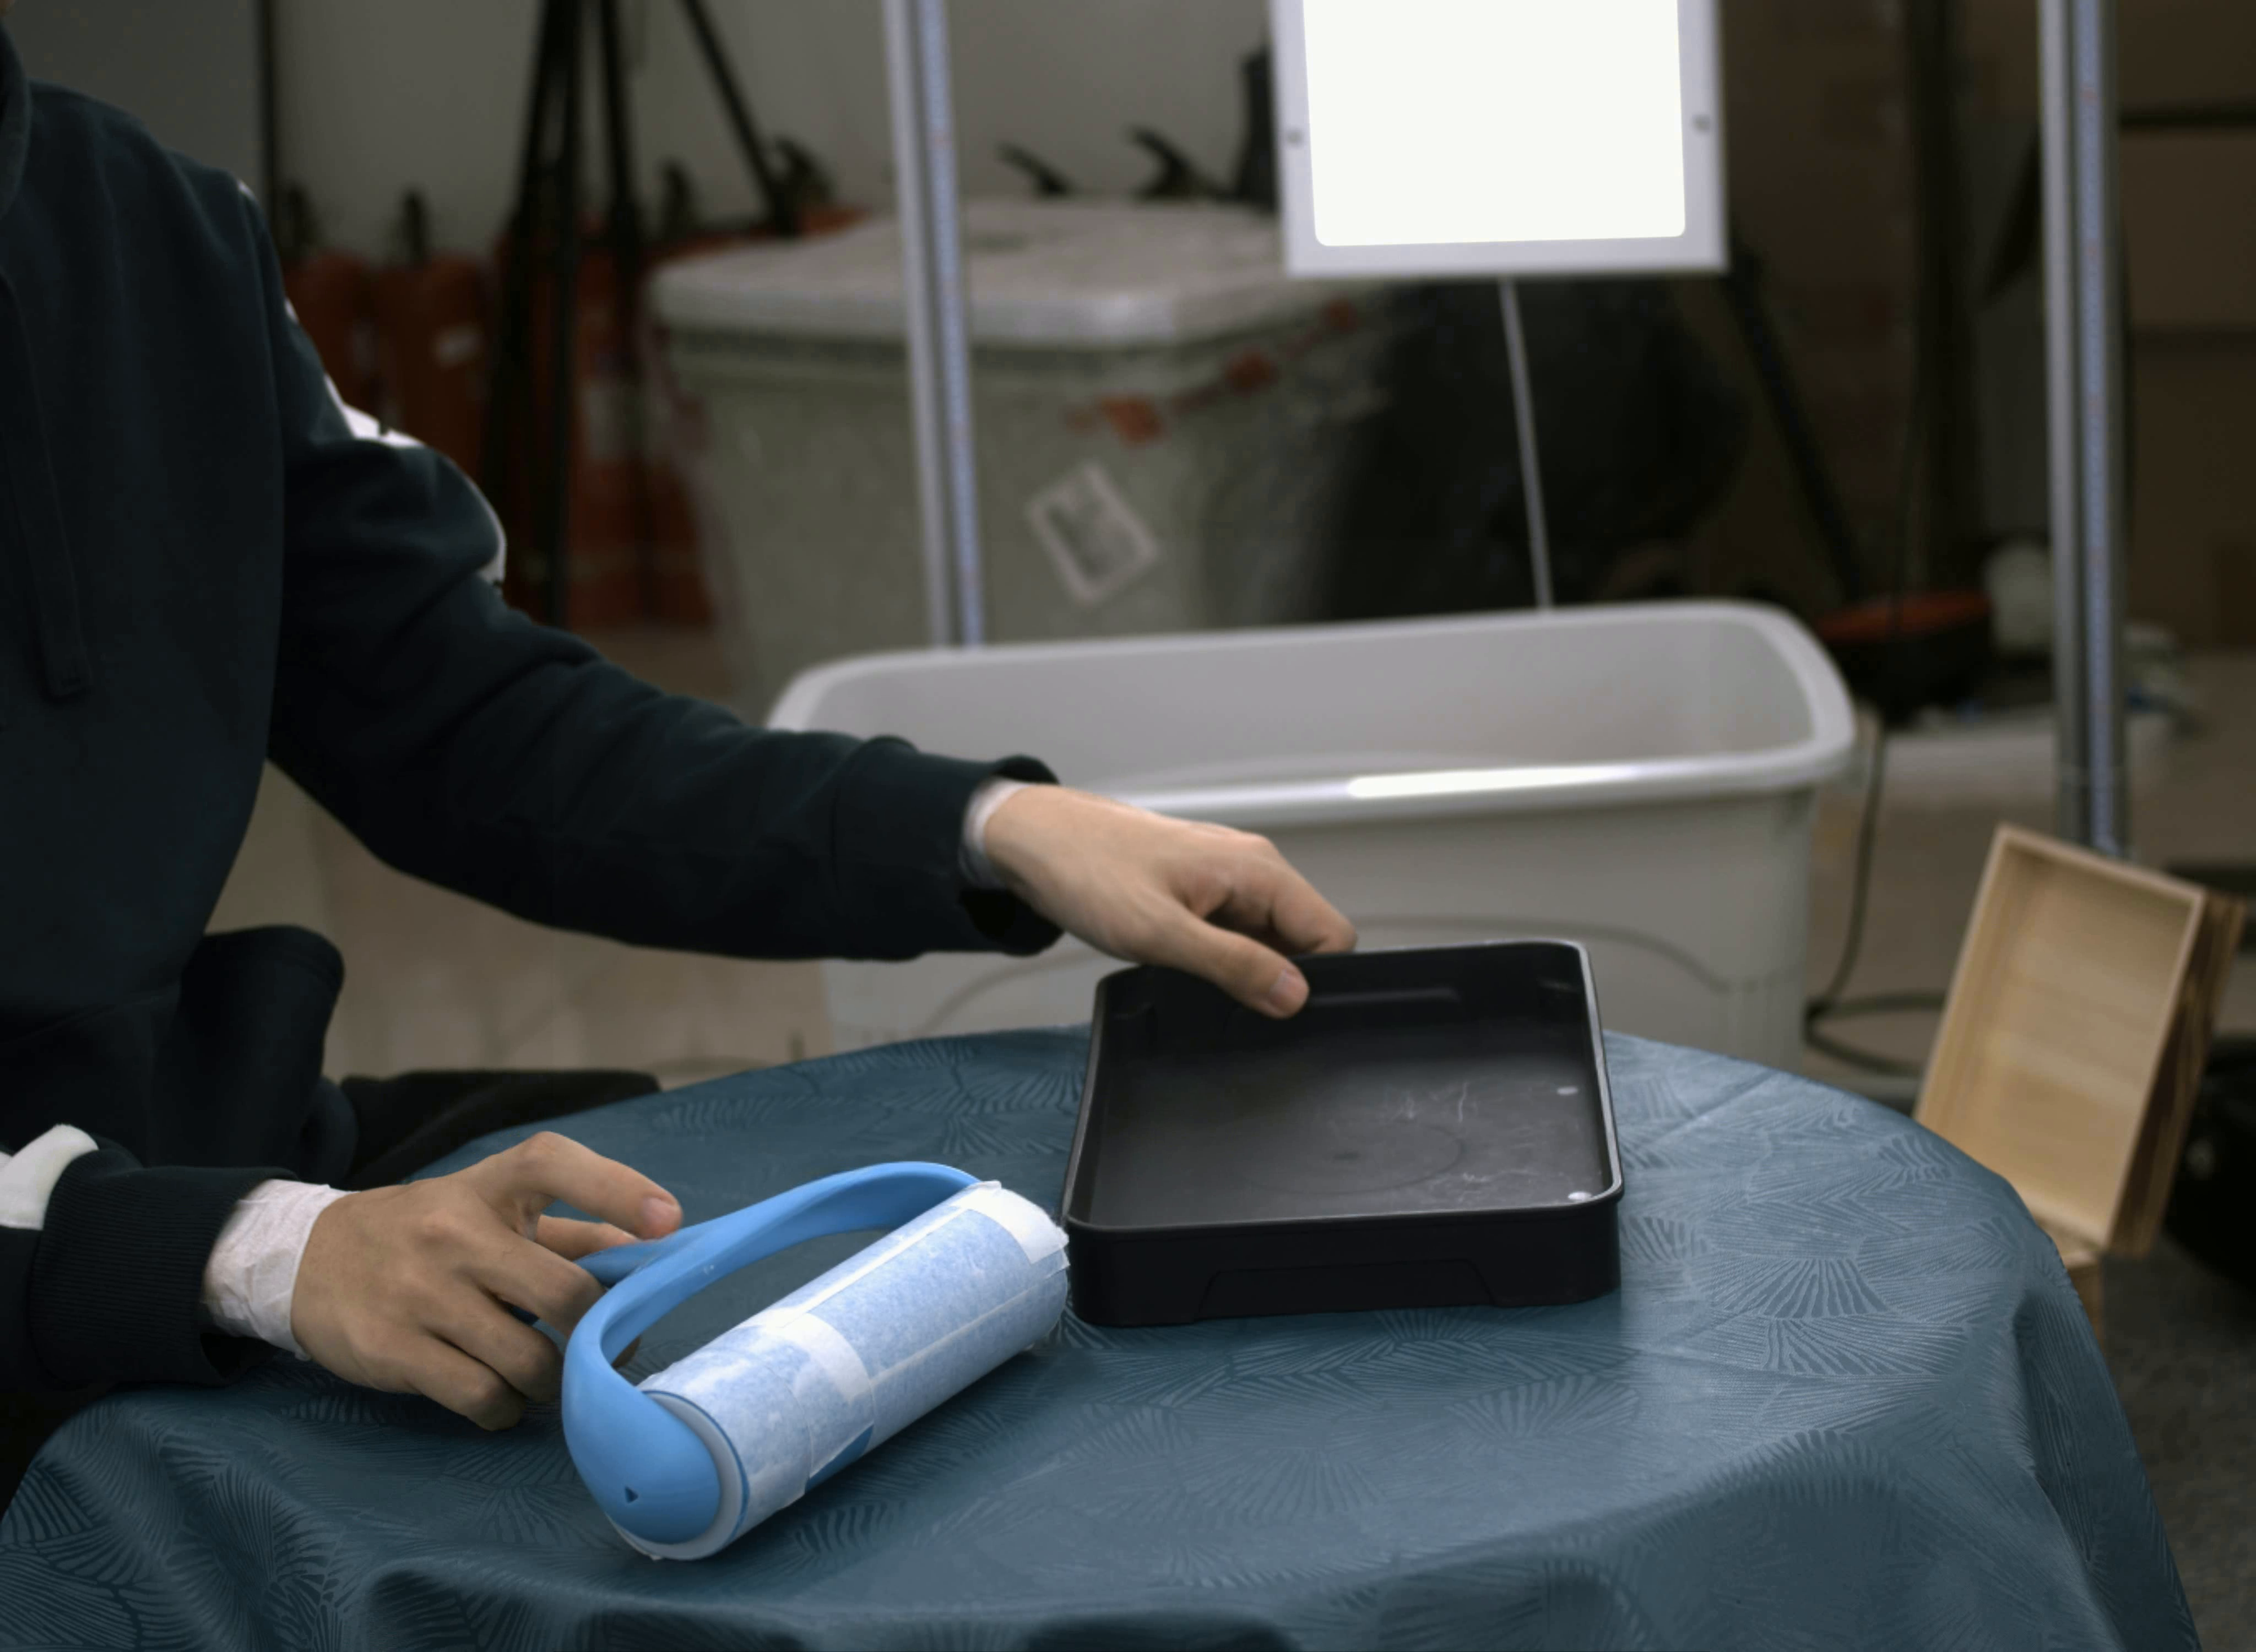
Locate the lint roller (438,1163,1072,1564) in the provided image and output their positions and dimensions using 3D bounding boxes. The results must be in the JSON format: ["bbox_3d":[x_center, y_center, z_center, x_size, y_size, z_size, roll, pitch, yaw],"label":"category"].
[{"bbox_3d":[-0.139,0.159,1.693,0.183,0.068,0.224,4,18,27],"label":"lint roller"}]

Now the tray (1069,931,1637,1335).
[{"bbox_3d":[0.076,0.101,1.899,0.184,0.037,0.316,-5,15,3],"label":"tray"}]
